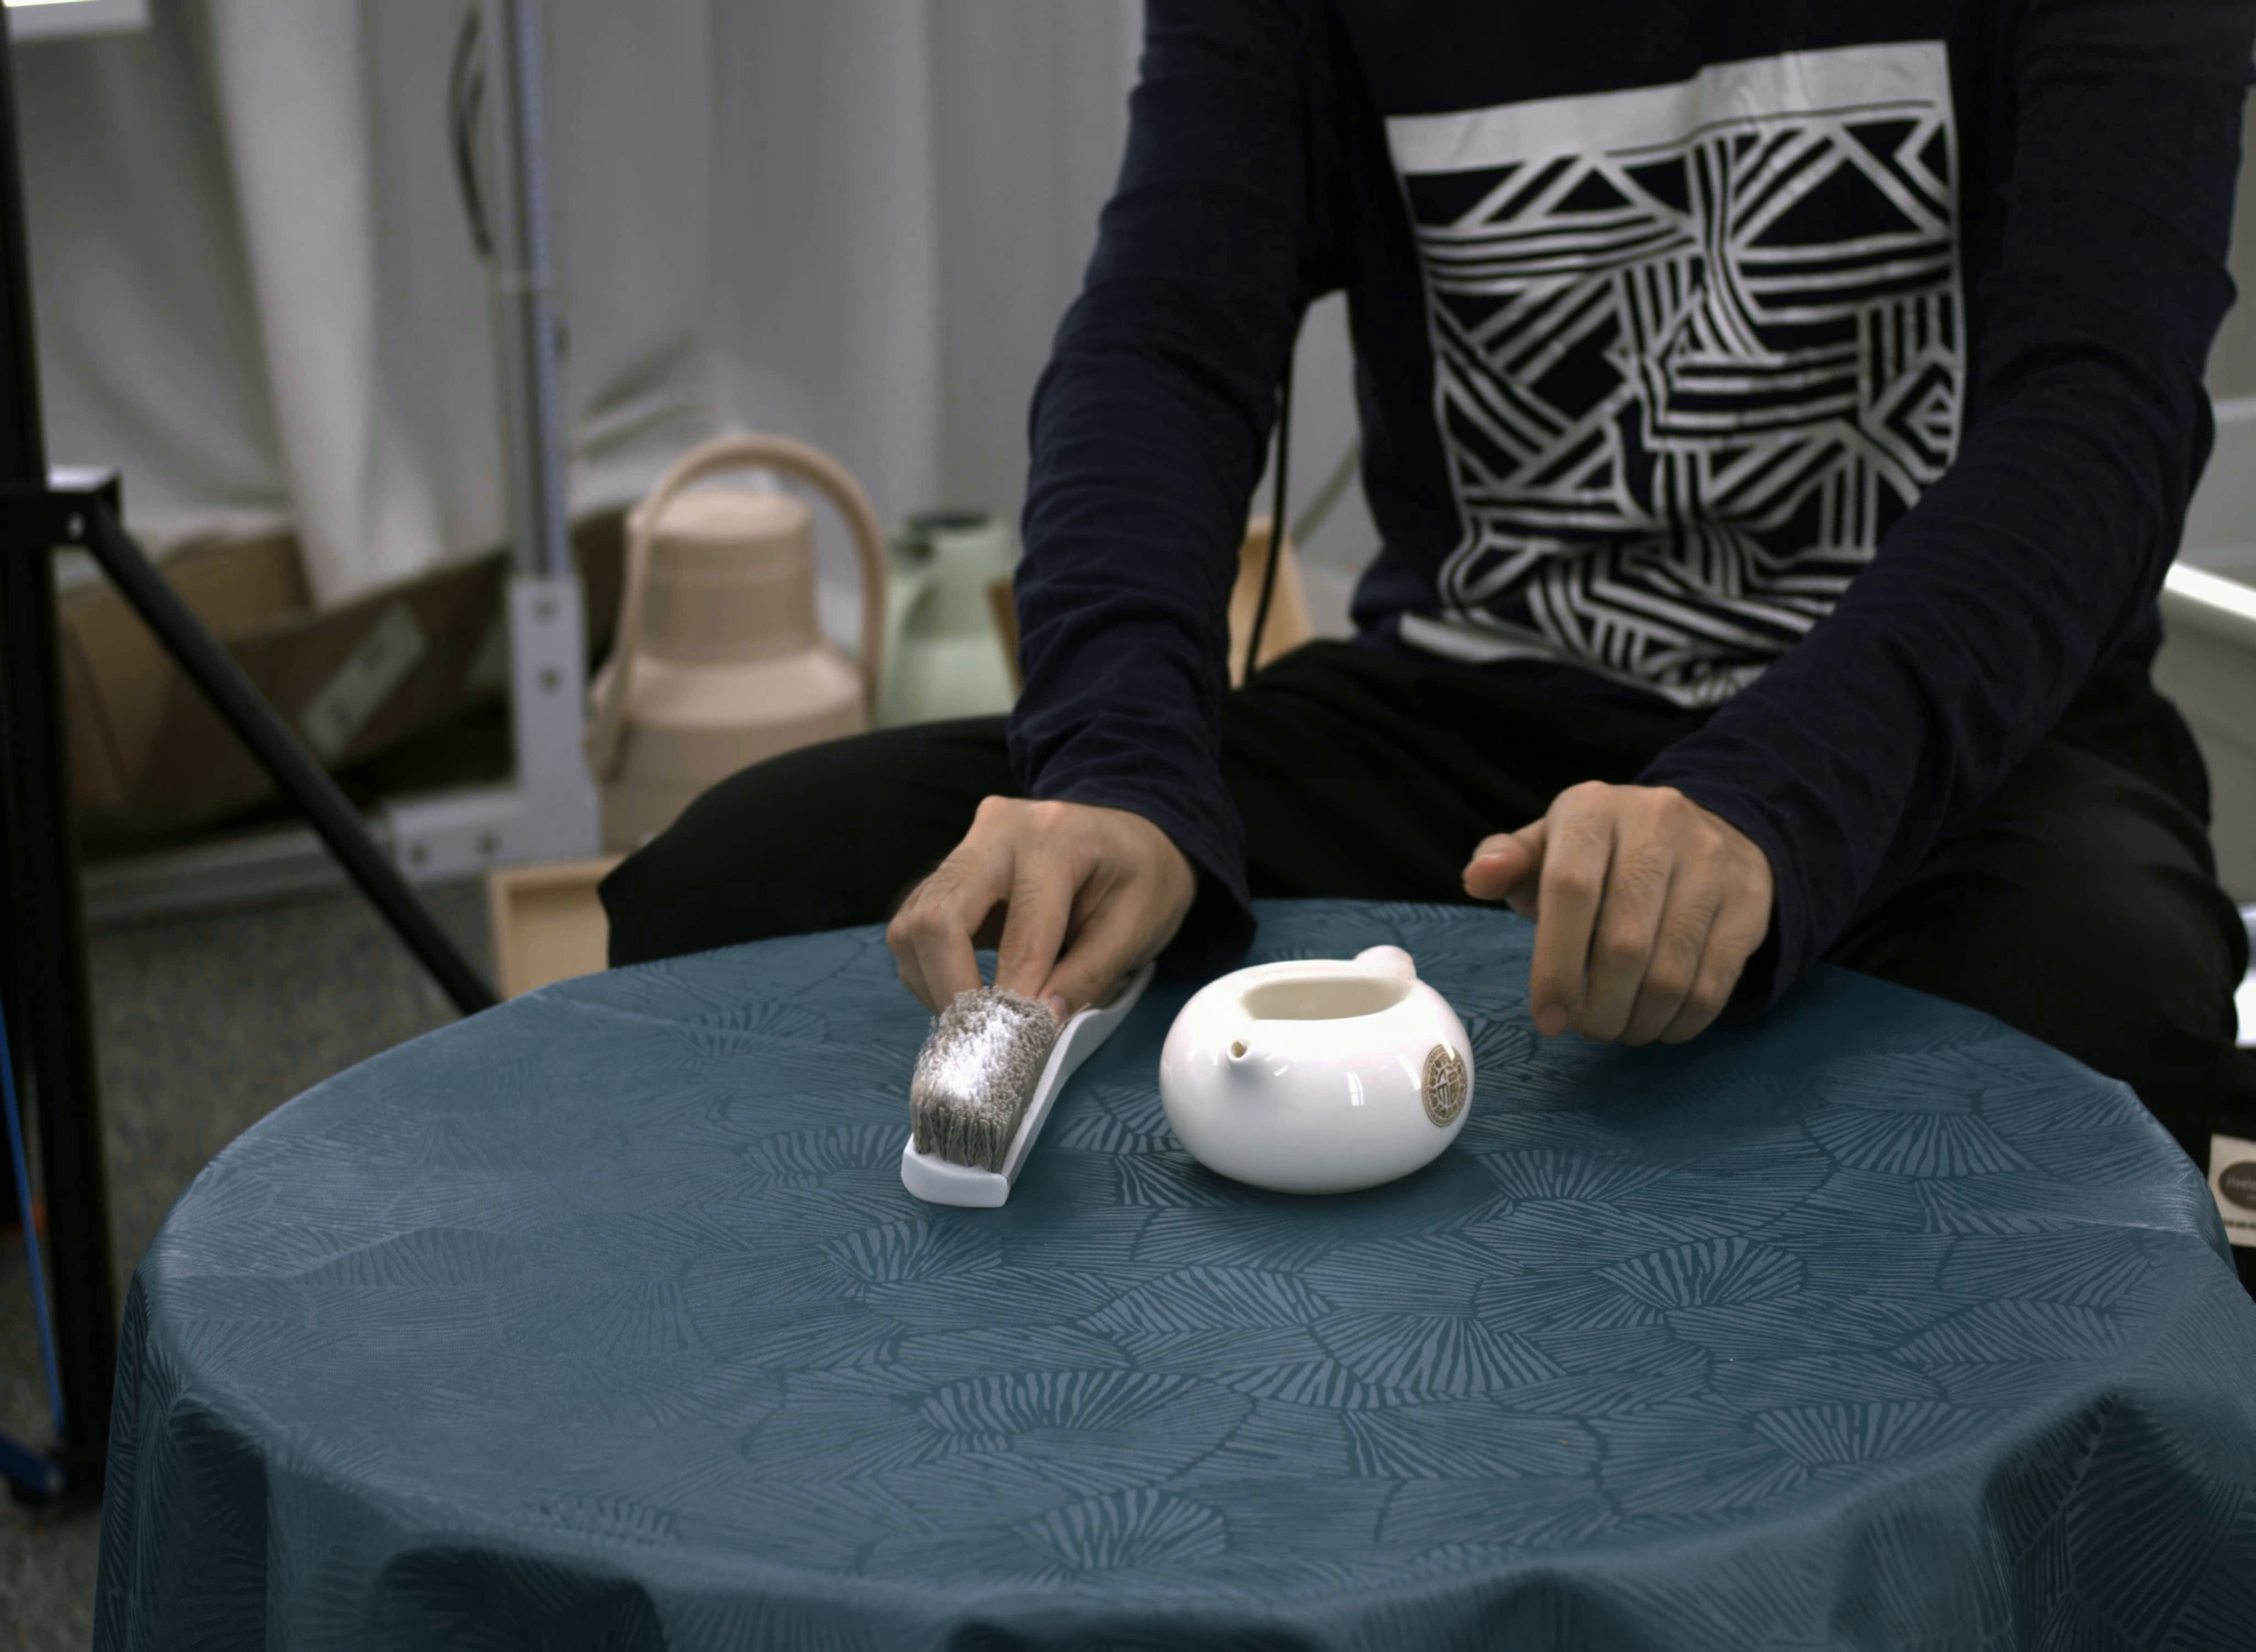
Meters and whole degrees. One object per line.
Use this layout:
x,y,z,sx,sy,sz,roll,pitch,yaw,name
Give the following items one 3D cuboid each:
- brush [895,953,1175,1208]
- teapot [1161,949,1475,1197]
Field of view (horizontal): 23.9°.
-0.022,0.059,1.649,0.034,0.050,0.241,12,18,13,brush
0.061,0.073,1.579,0.095,0.056,0.125,-1,13,25,teapot
